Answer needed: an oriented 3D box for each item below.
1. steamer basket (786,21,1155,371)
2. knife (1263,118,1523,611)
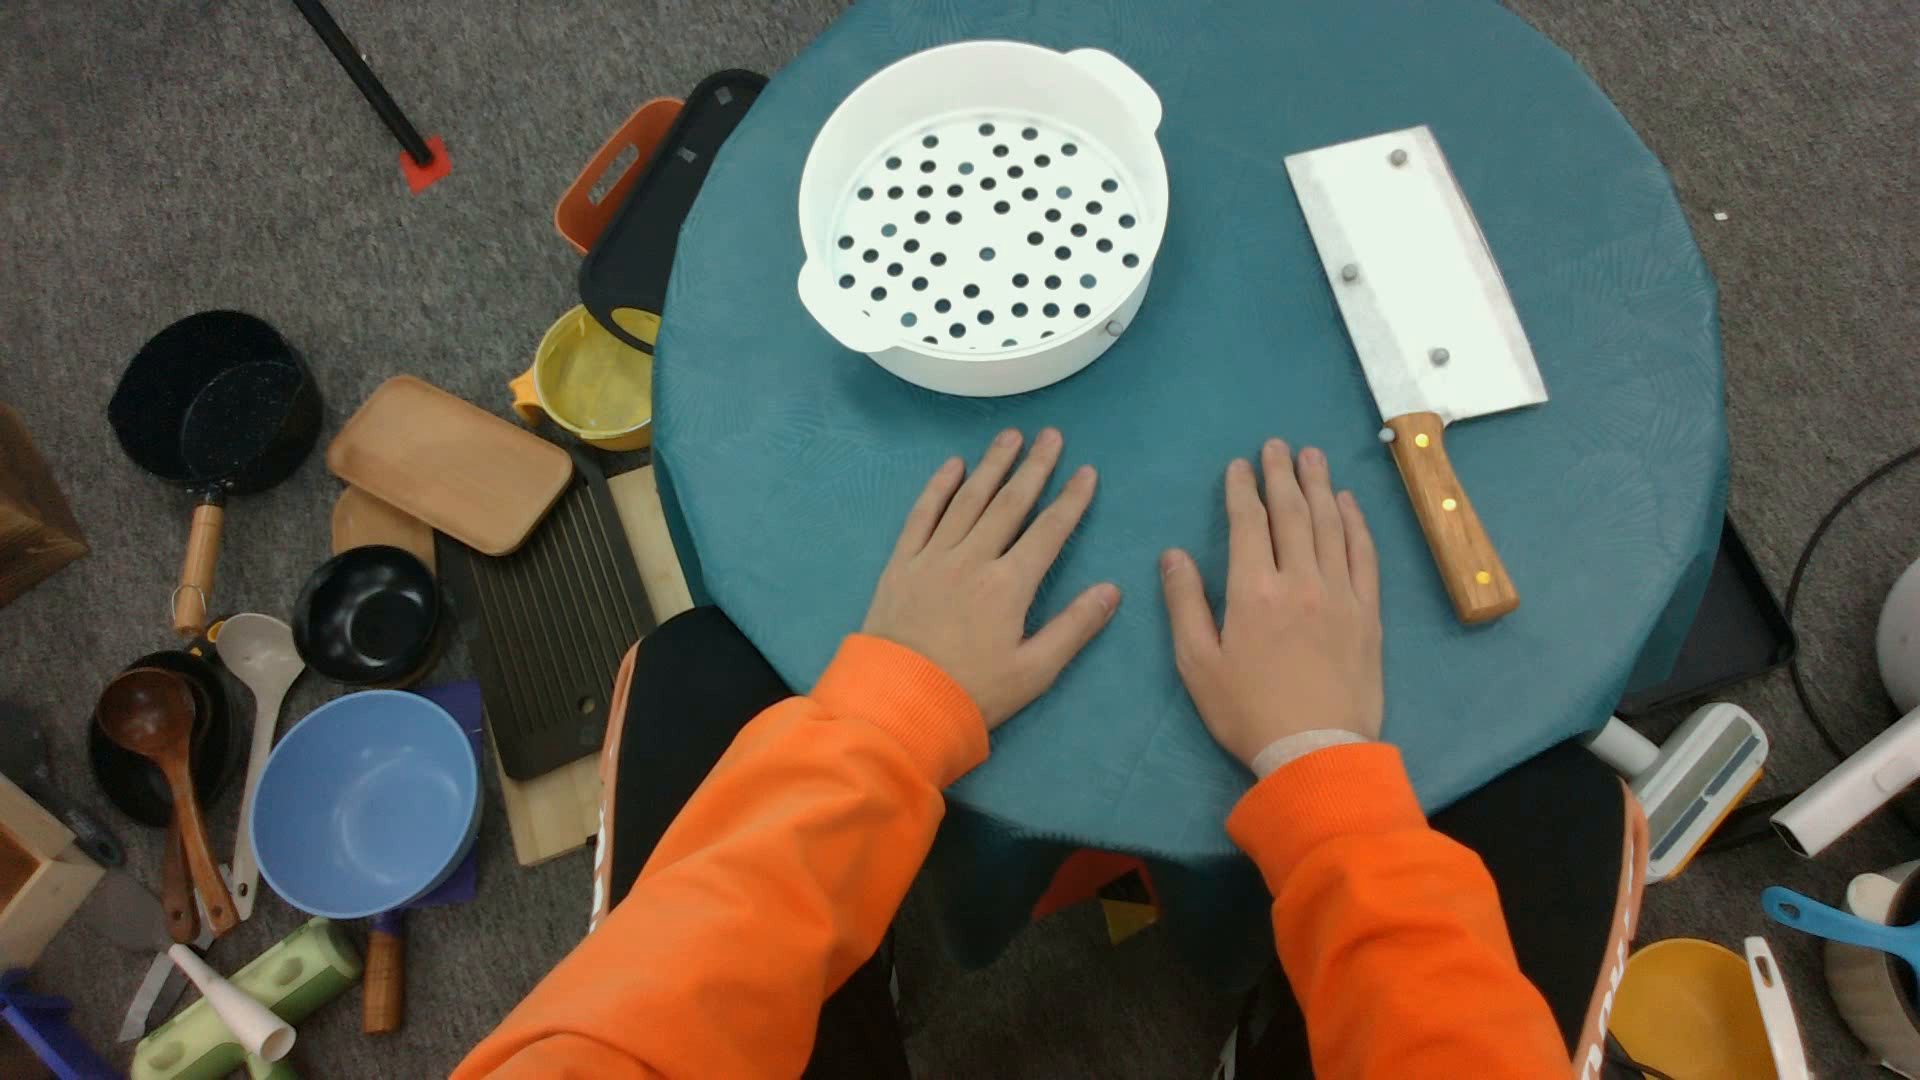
[{"bbox_3d":[0.007,-0.191,0.776,0.231,0.069,0.202,-41,74,-13],"label":"steamer basket"},{"bbox_3d":[0.256,-0.110,0.763,0.093,0.021,0.306,-13,68,-3],"label":"knife"}]
